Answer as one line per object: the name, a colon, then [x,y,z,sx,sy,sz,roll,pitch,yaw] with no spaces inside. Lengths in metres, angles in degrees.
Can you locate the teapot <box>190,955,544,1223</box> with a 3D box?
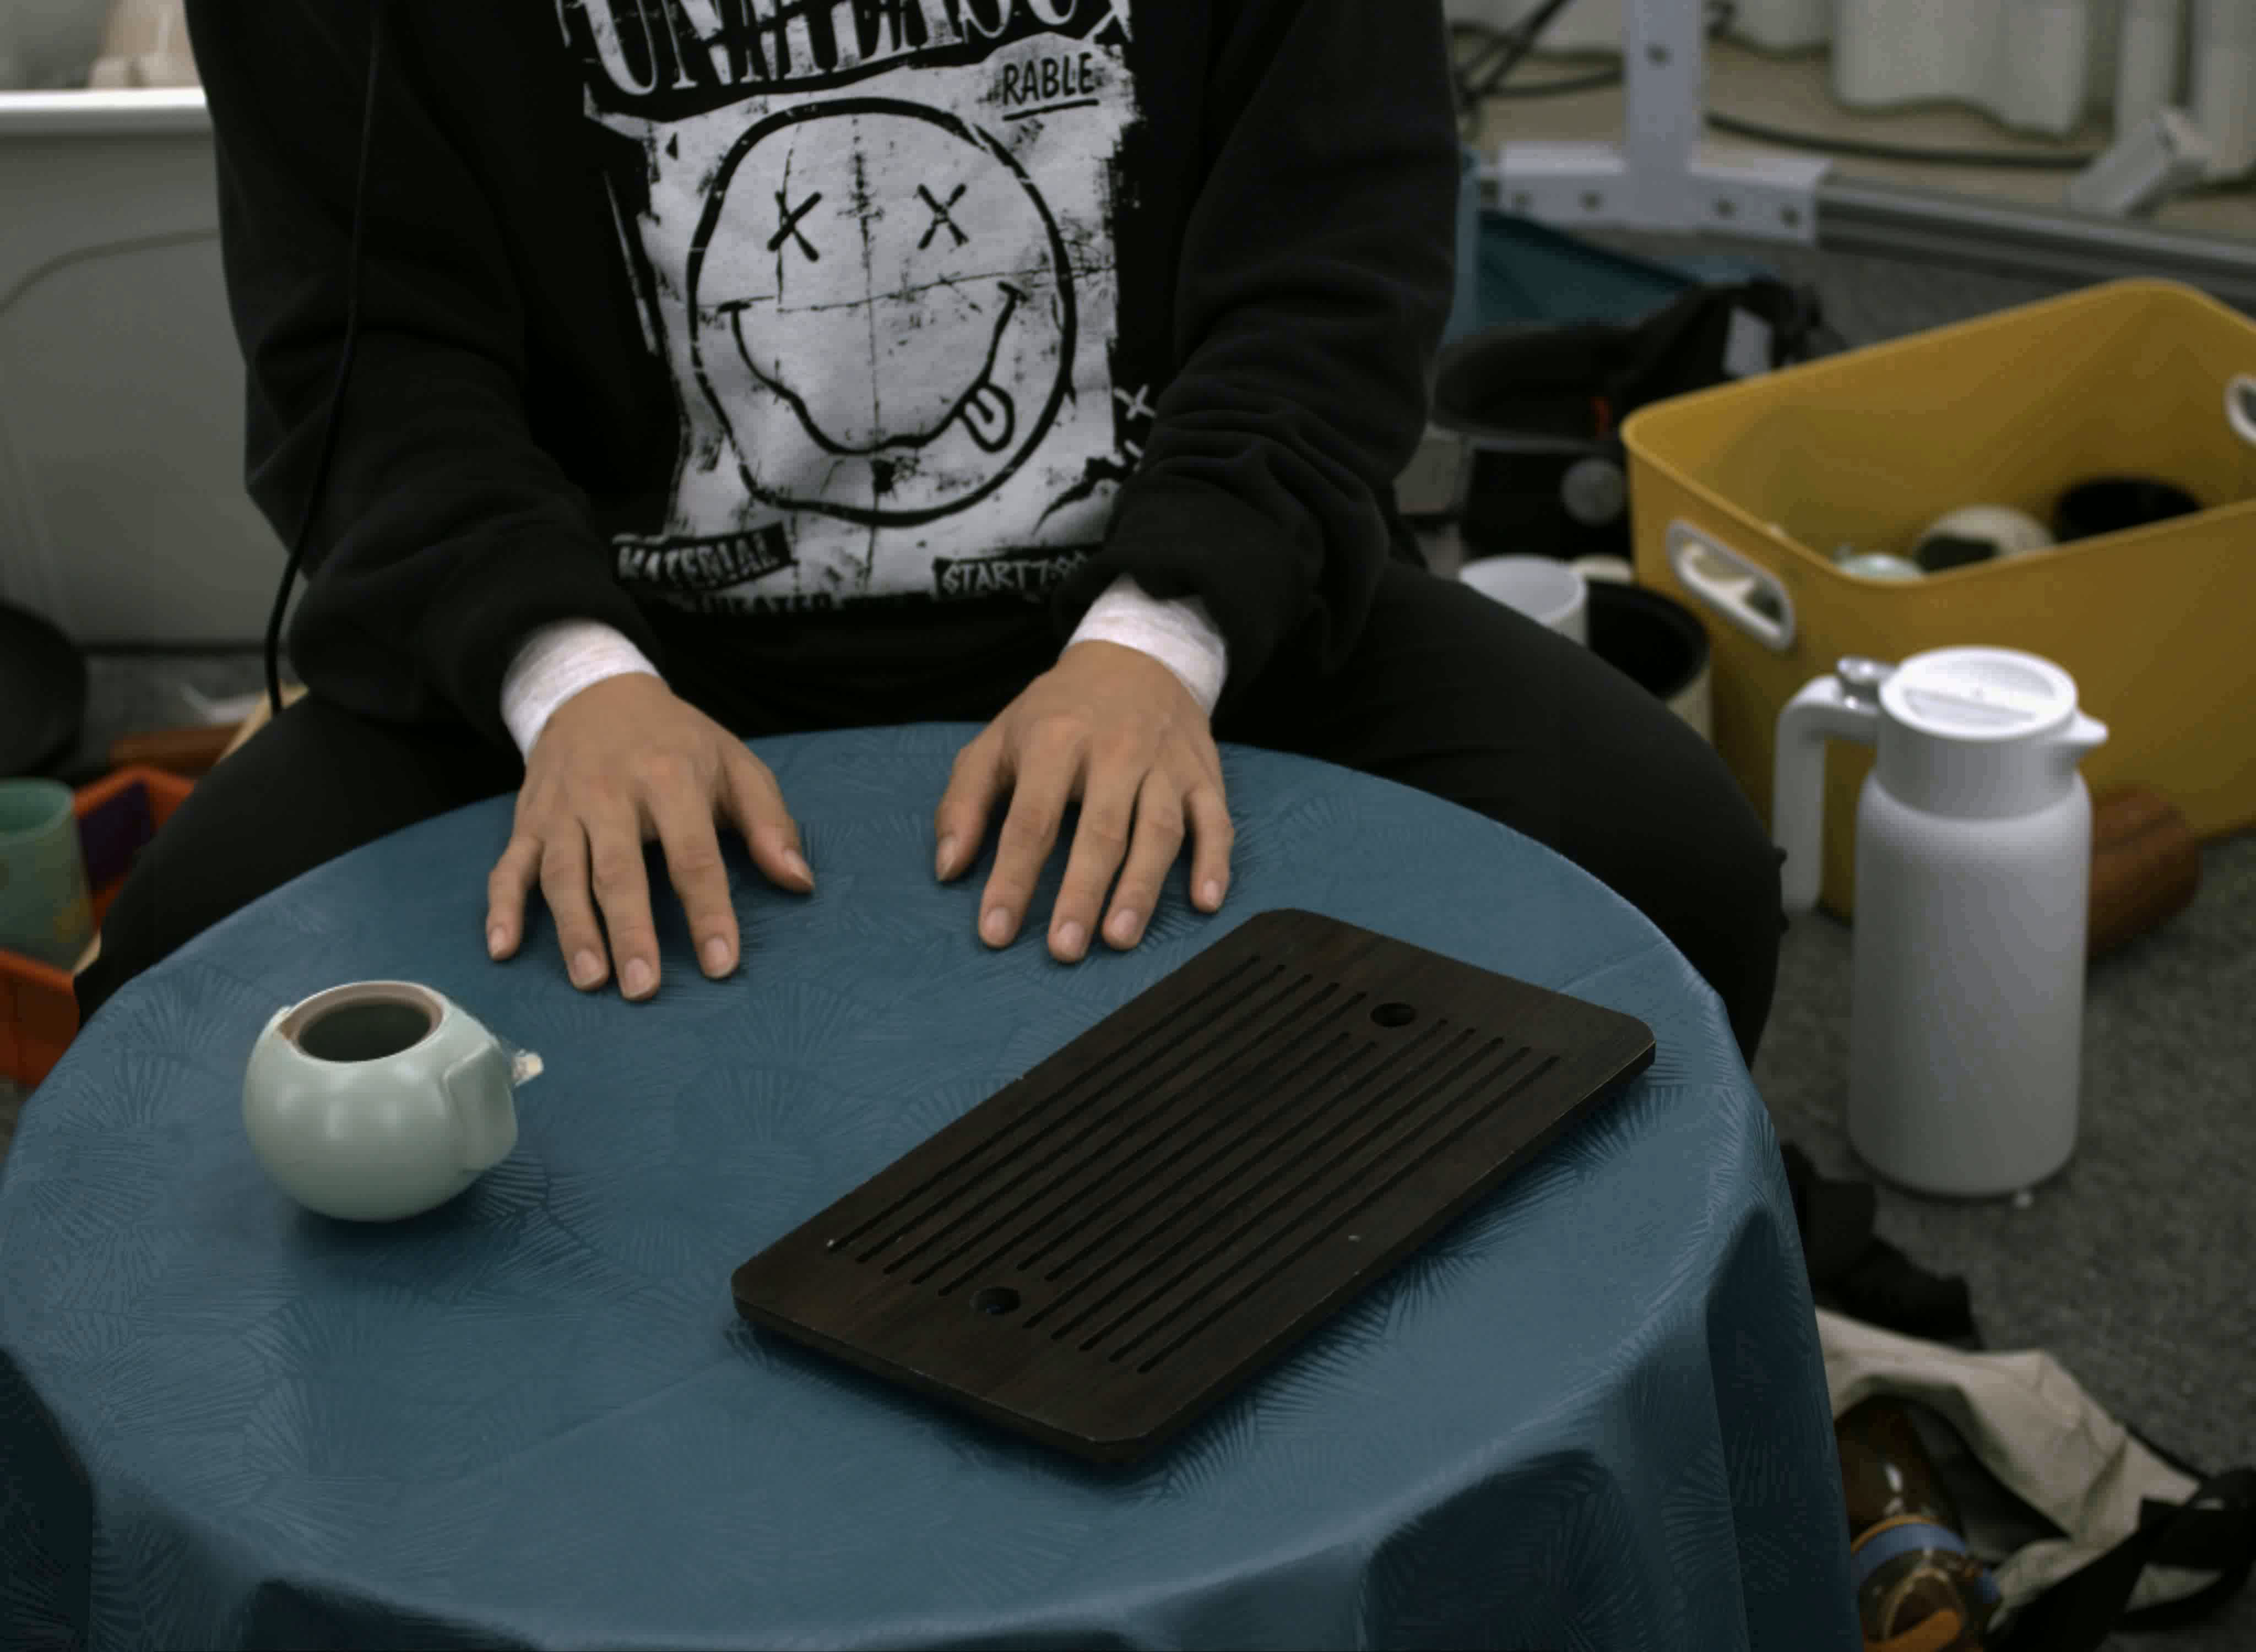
teapot: [-0.251,0.090,1.865,0.143,0.074,0.090,15,32,28]

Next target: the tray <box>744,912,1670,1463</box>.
tray: [0.030,0.116,1.848,0.169,0.018,0.310,17,33,34]
